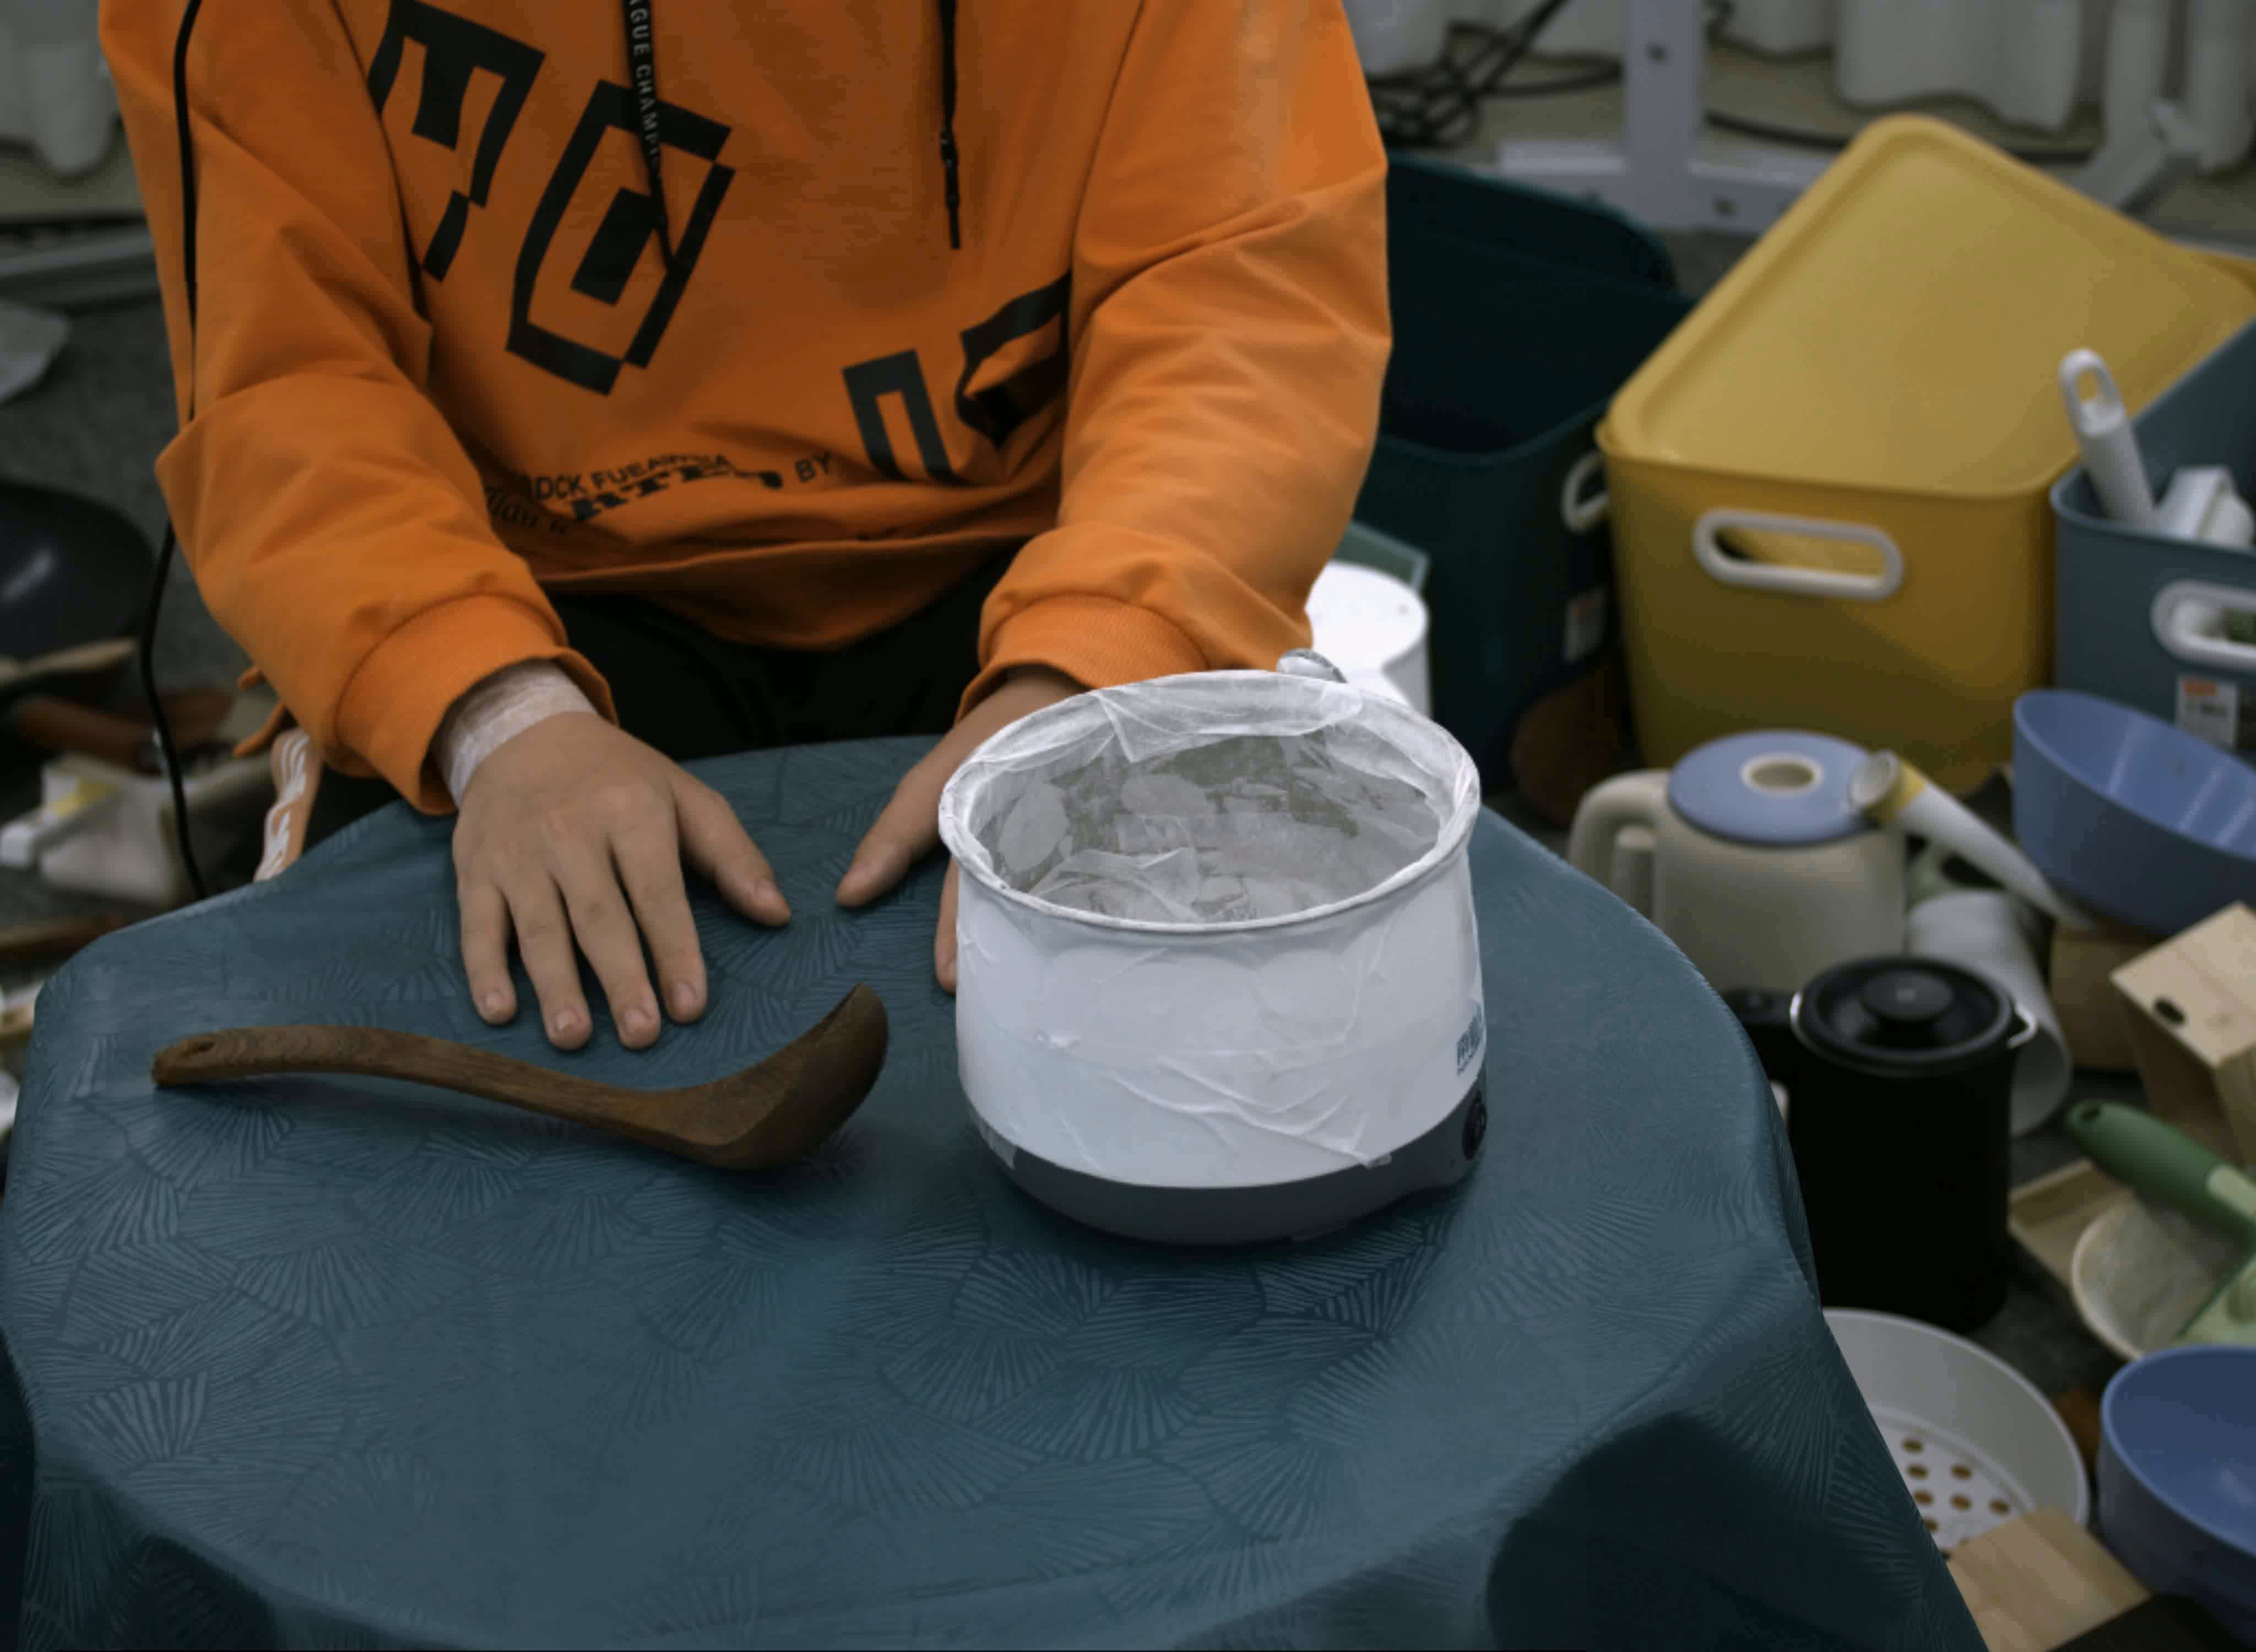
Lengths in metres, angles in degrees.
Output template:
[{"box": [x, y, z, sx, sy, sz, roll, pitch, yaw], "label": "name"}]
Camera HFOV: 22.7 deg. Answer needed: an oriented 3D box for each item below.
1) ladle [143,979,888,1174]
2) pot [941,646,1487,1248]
[{"box": [-0.211, 0.072, 1.904, 0.272, 0.070, 0.077, 7, 25, 17], "label": "ladle"}, {"box": [0.038, 0.033, 1.882, 0.177, 0.135, 0.238, 6, 29, 16], "label": "pot"}]
